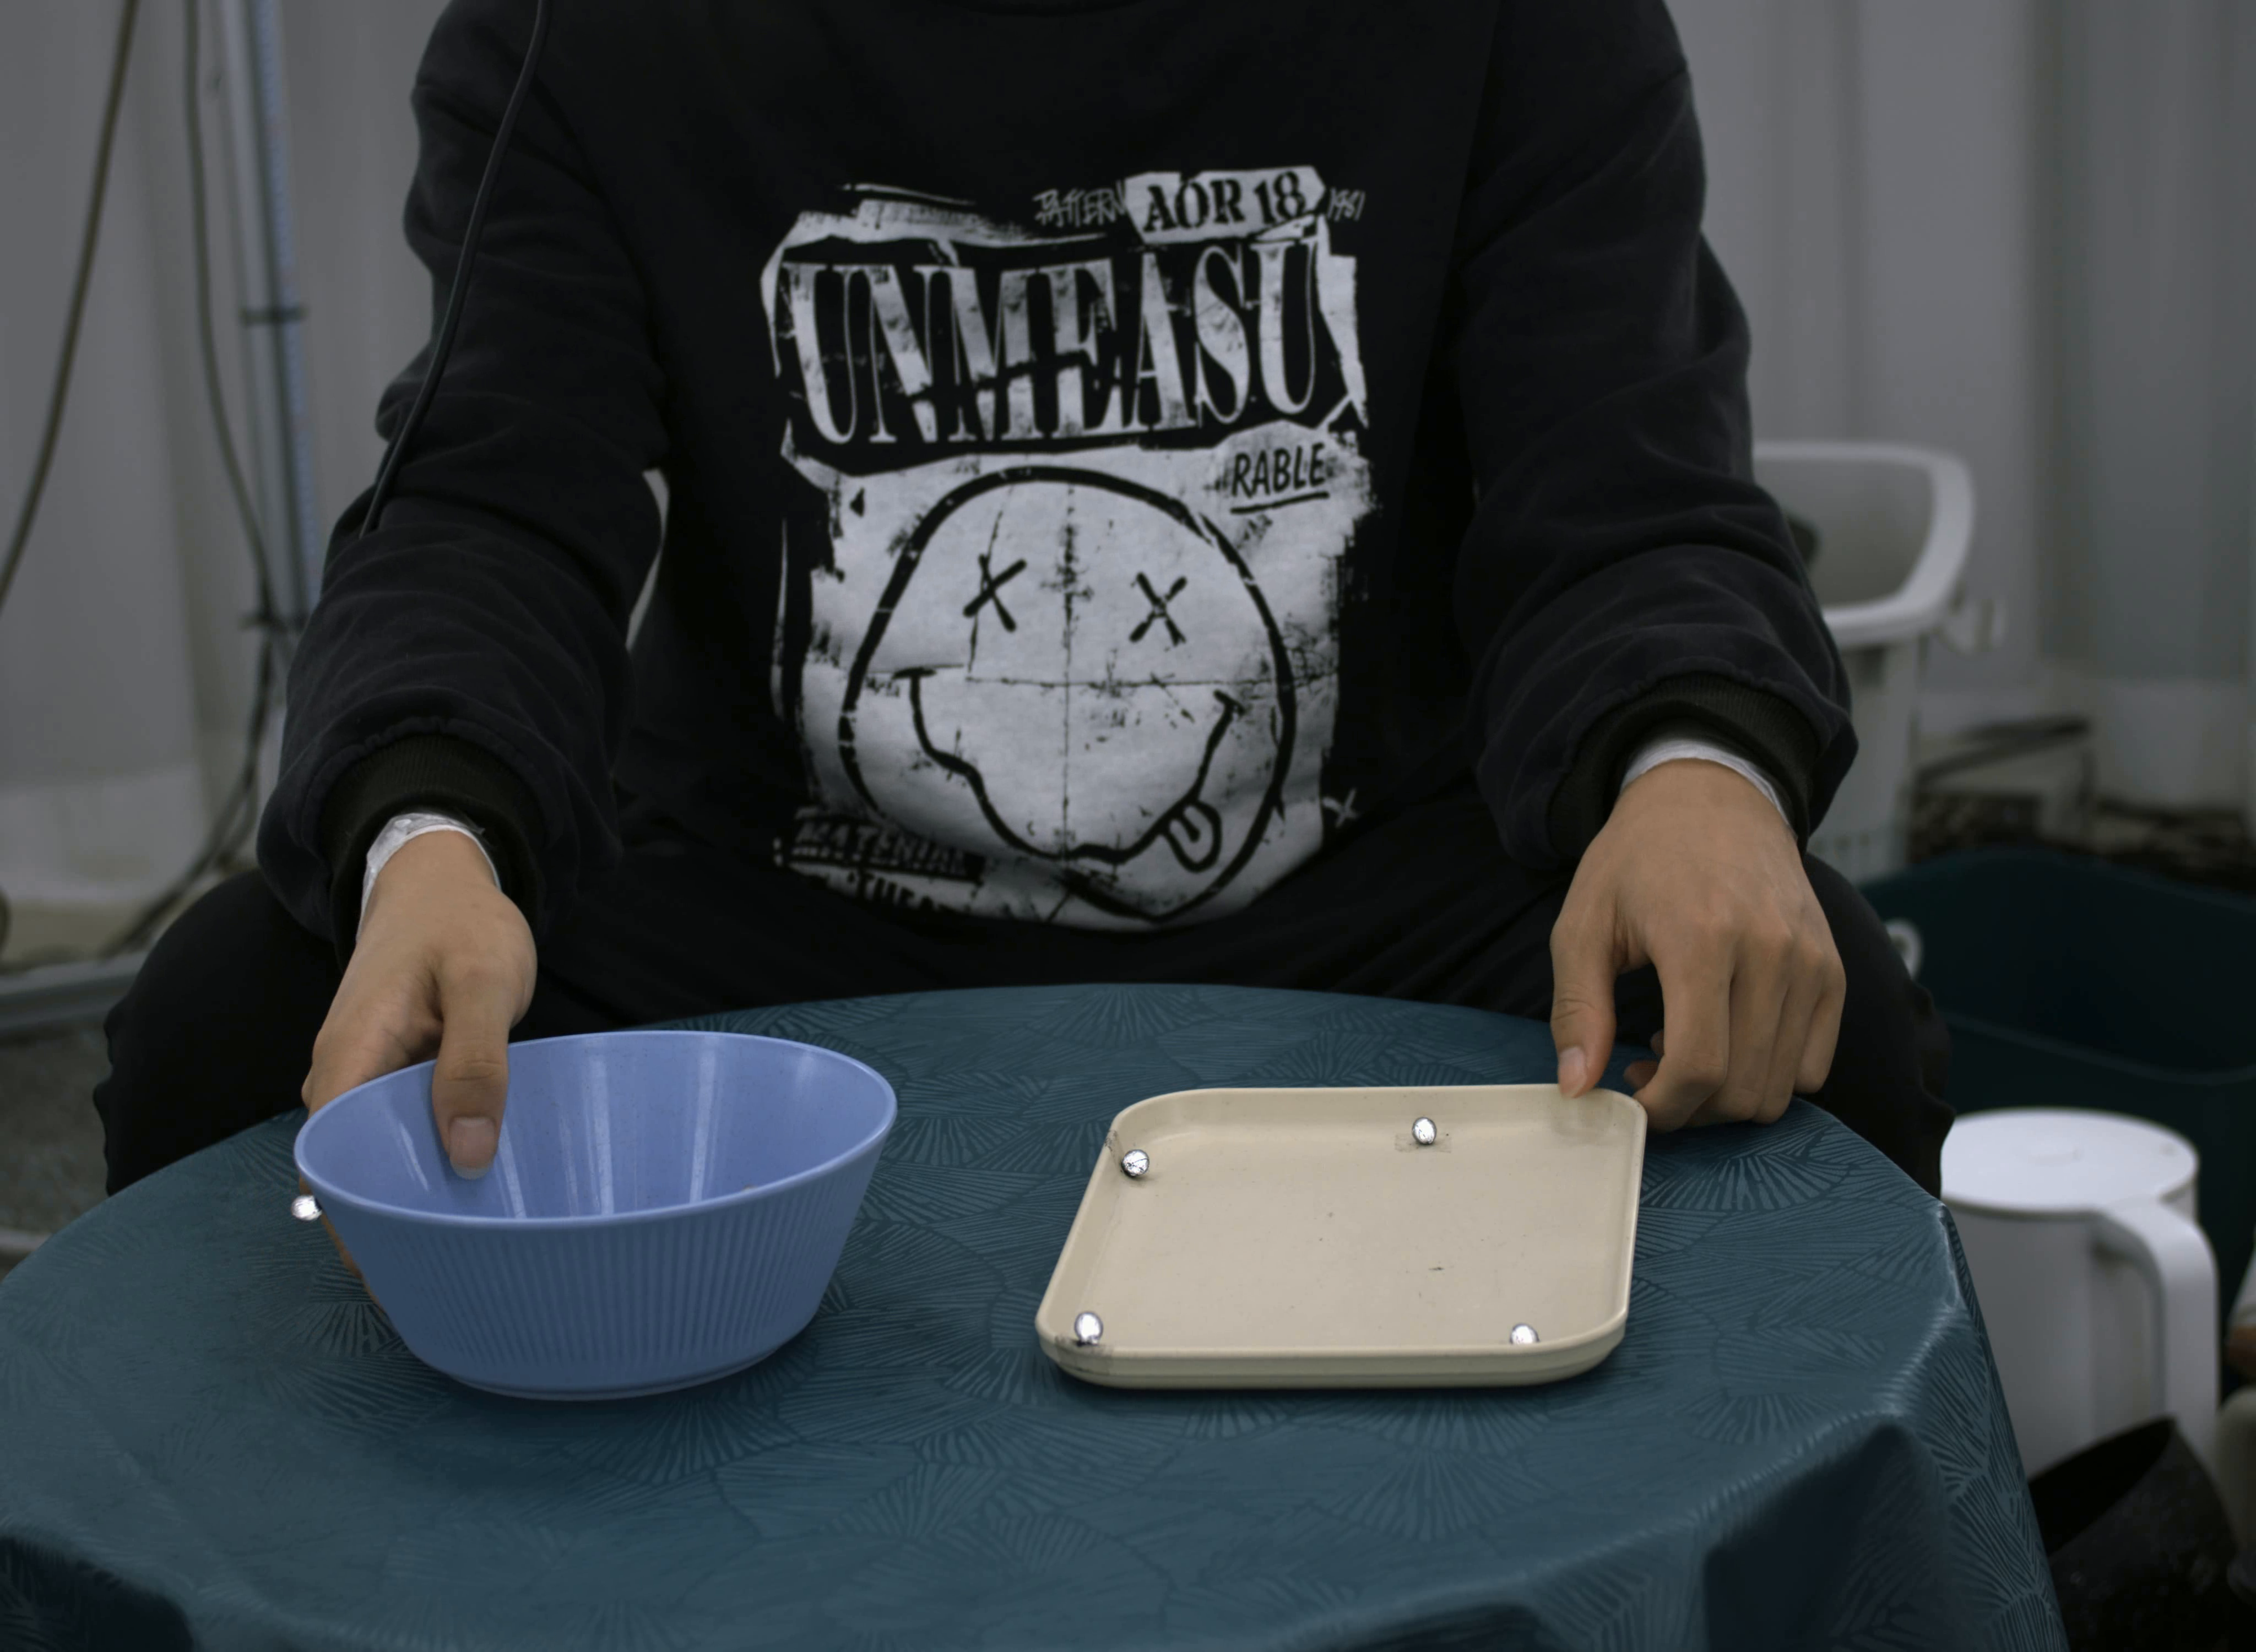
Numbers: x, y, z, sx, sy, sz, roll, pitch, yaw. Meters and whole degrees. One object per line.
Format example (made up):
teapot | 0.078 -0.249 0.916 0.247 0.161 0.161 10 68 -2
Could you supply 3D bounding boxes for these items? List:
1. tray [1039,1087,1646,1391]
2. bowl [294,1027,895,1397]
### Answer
tray | 0.069 0.123 1.638 0.171 0.017 0.241 0 15 7
bowl | -0.154 0.116 1.603 0.175 0.070 0.177 -3 15 0
